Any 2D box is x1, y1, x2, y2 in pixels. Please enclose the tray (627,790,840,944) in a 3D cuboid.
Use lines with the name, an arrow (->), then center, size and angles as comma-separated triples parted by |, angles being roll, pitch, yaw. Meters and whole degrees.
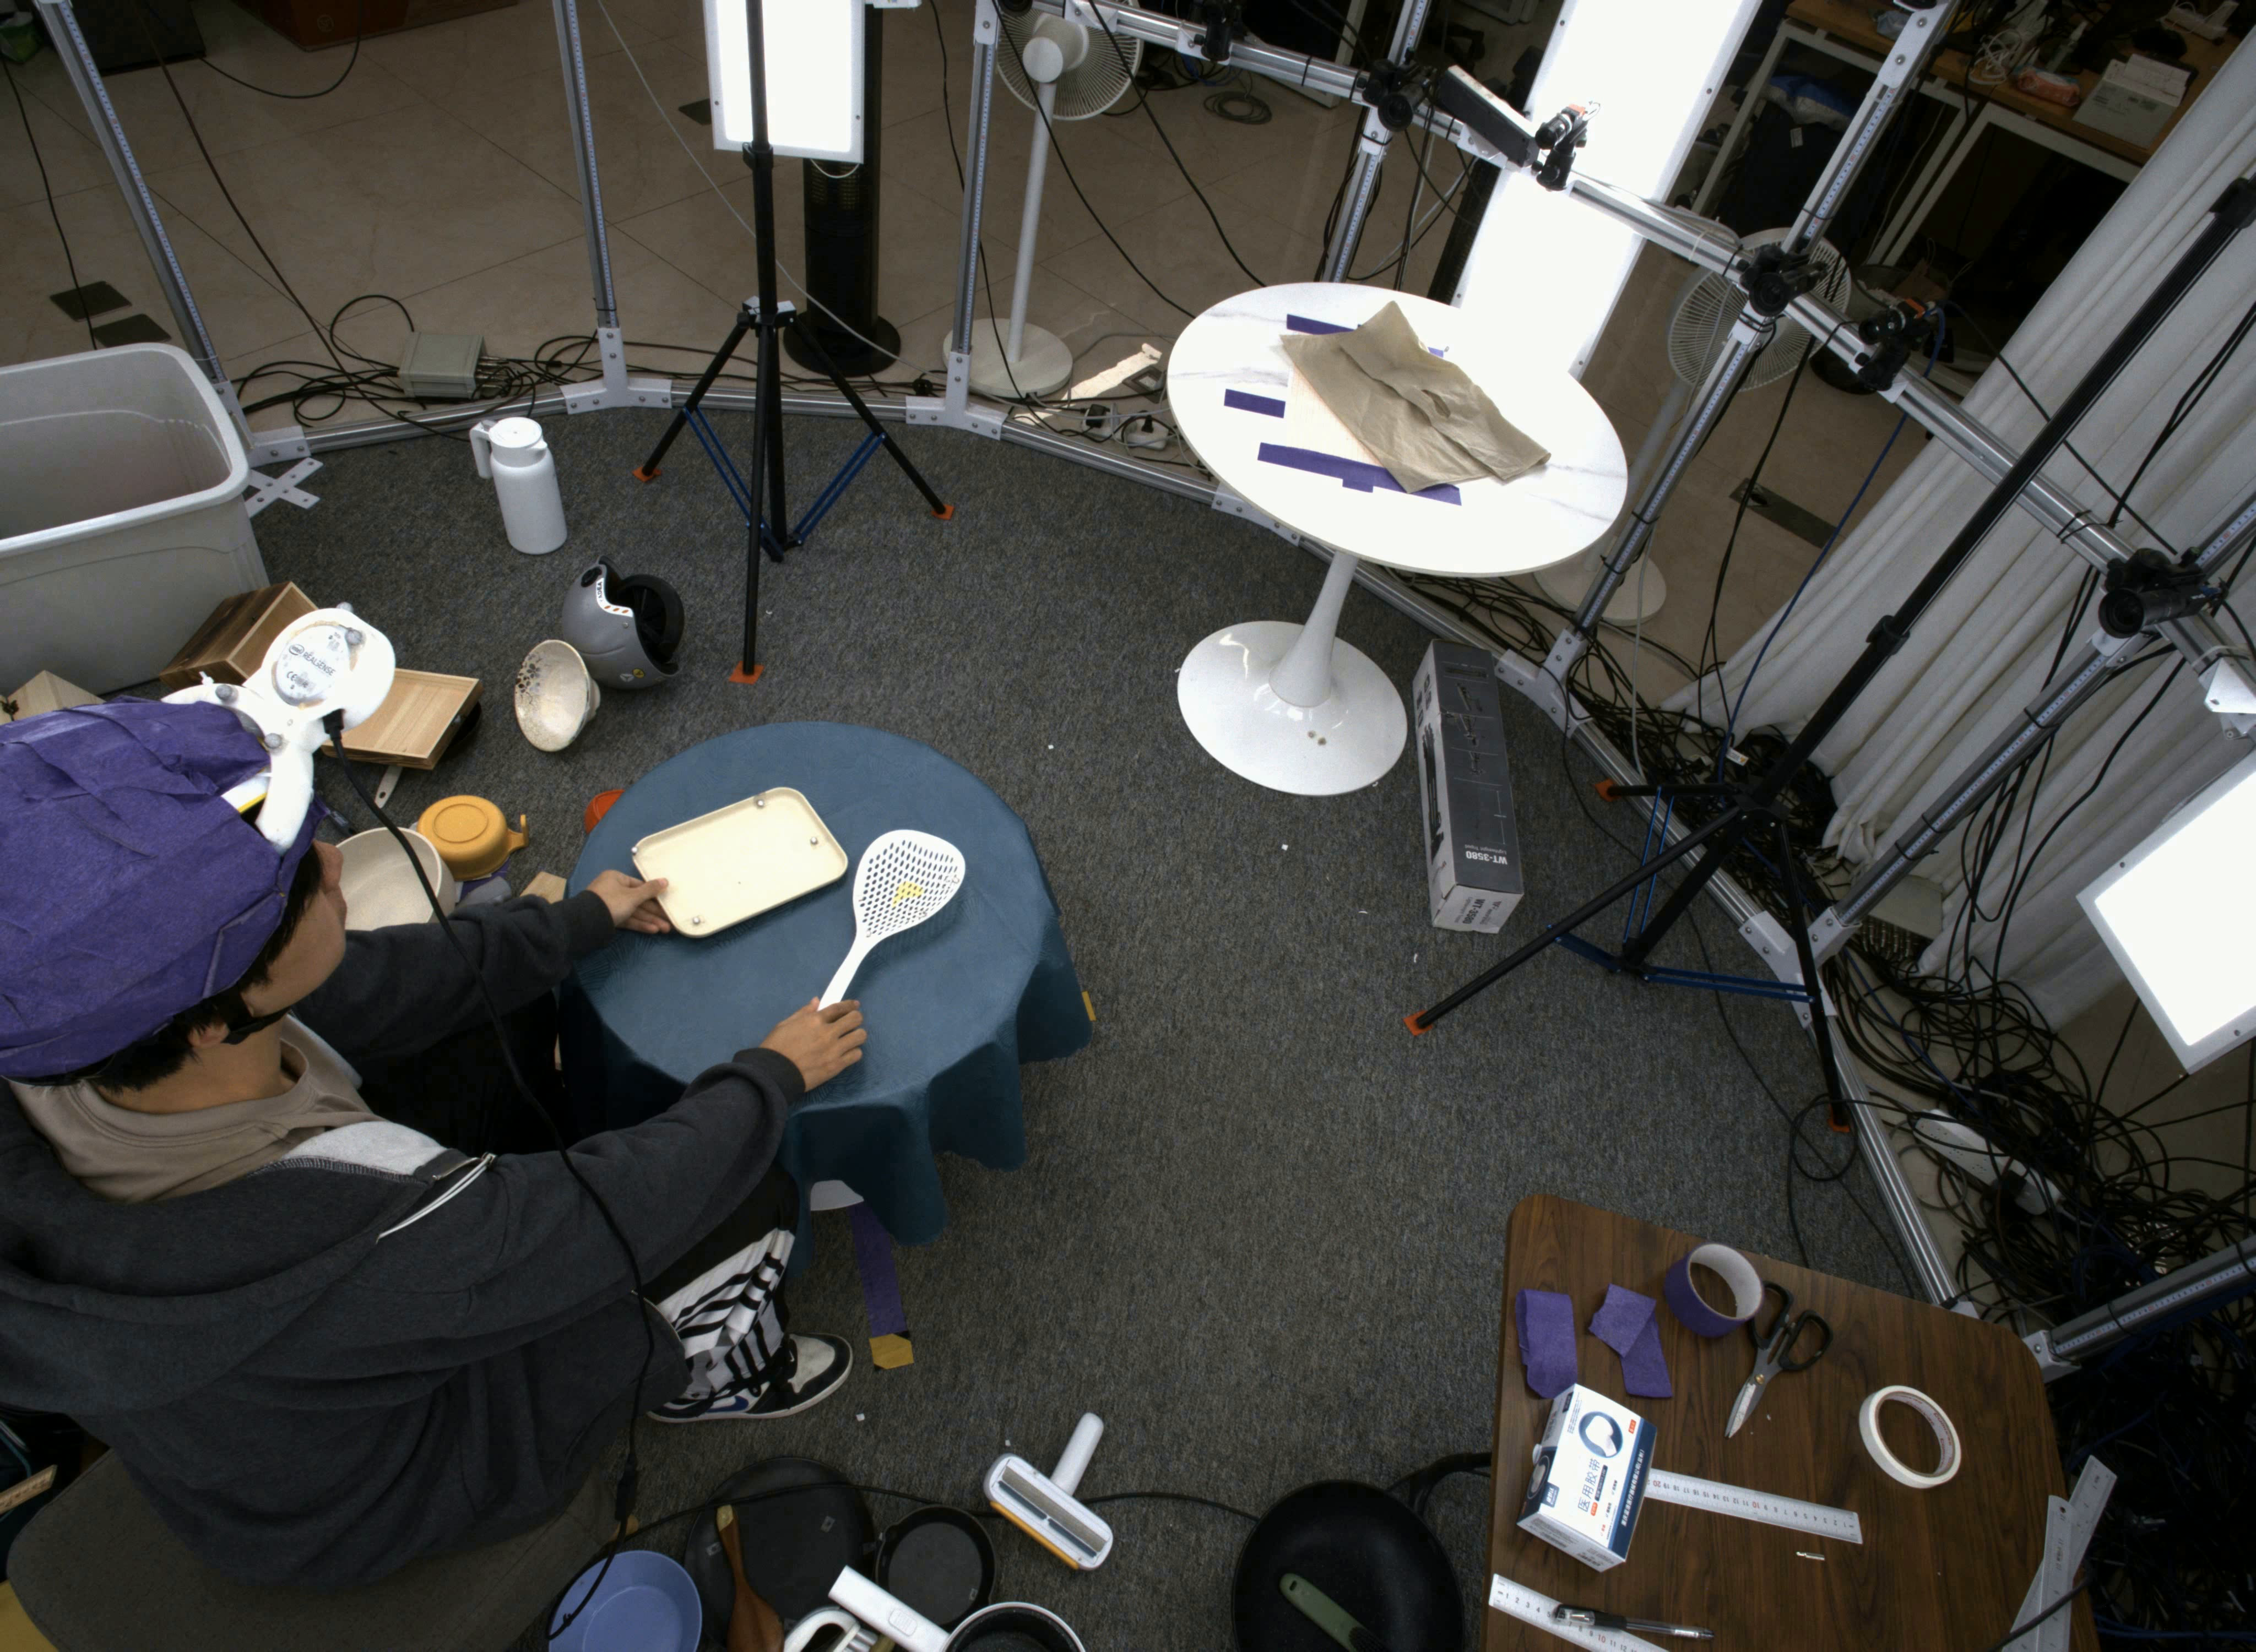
tray -> -0.504, 0.049, 1.652 | 0.241, 0.018, 0.167 | -25, 64, -33

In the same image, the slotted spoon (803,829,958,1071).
slotted spoon -> -0.326, 0.145, 1.616 | 0.135, 0.051, 0.345 | 20, 50, 5
